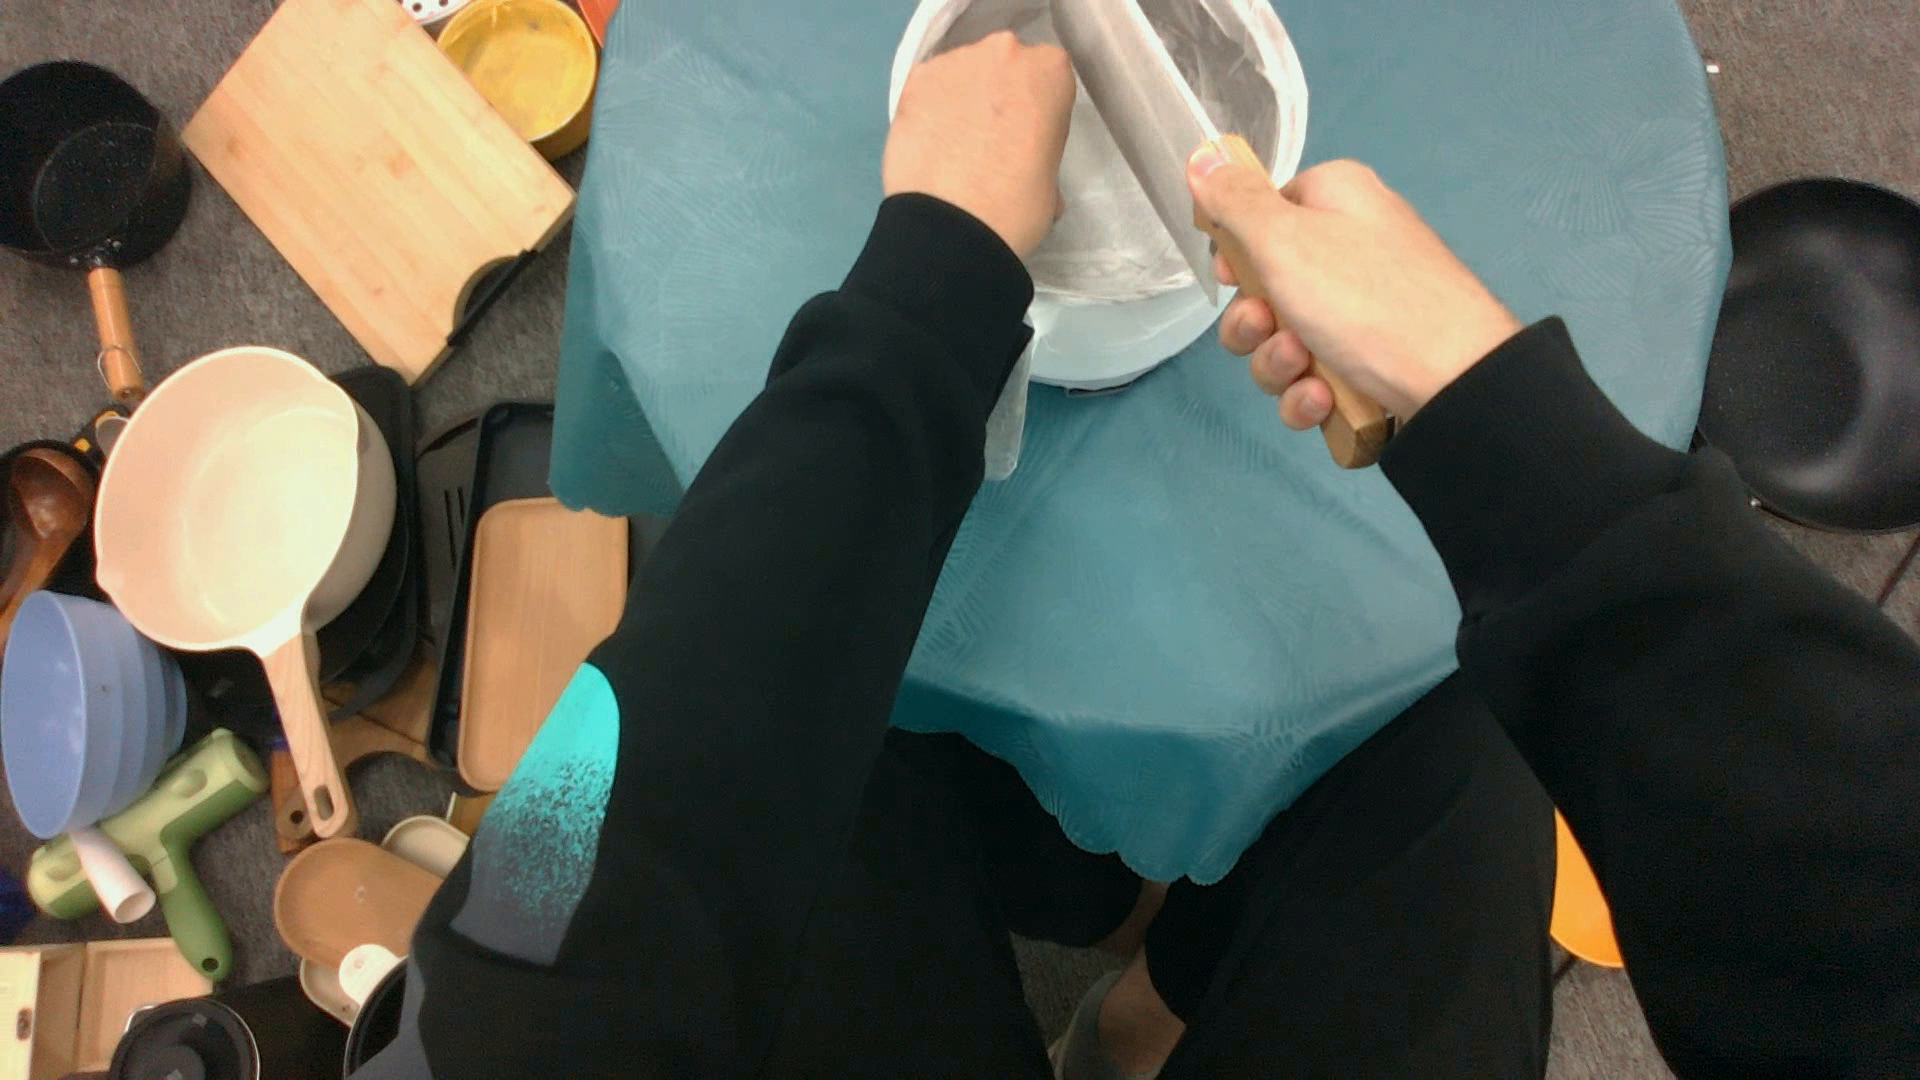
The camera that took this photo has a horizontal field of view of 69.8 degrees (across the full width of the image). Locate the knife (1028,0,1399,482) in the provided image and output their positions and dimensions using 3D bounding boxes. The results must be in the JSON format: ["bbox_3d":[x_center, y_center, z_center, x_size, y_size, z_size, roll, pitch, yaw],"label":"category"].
[{"bbox_3d":[0.079,-0.146,0.525,0.022,0.113,0.316,-22,57,-3],"label":"knife"}]

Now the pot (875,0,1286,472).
[{"bbox_3d":[0.042,-0.149,0.646,0.178,0.136,0.234,19,78,4],"label":"pot"}]
